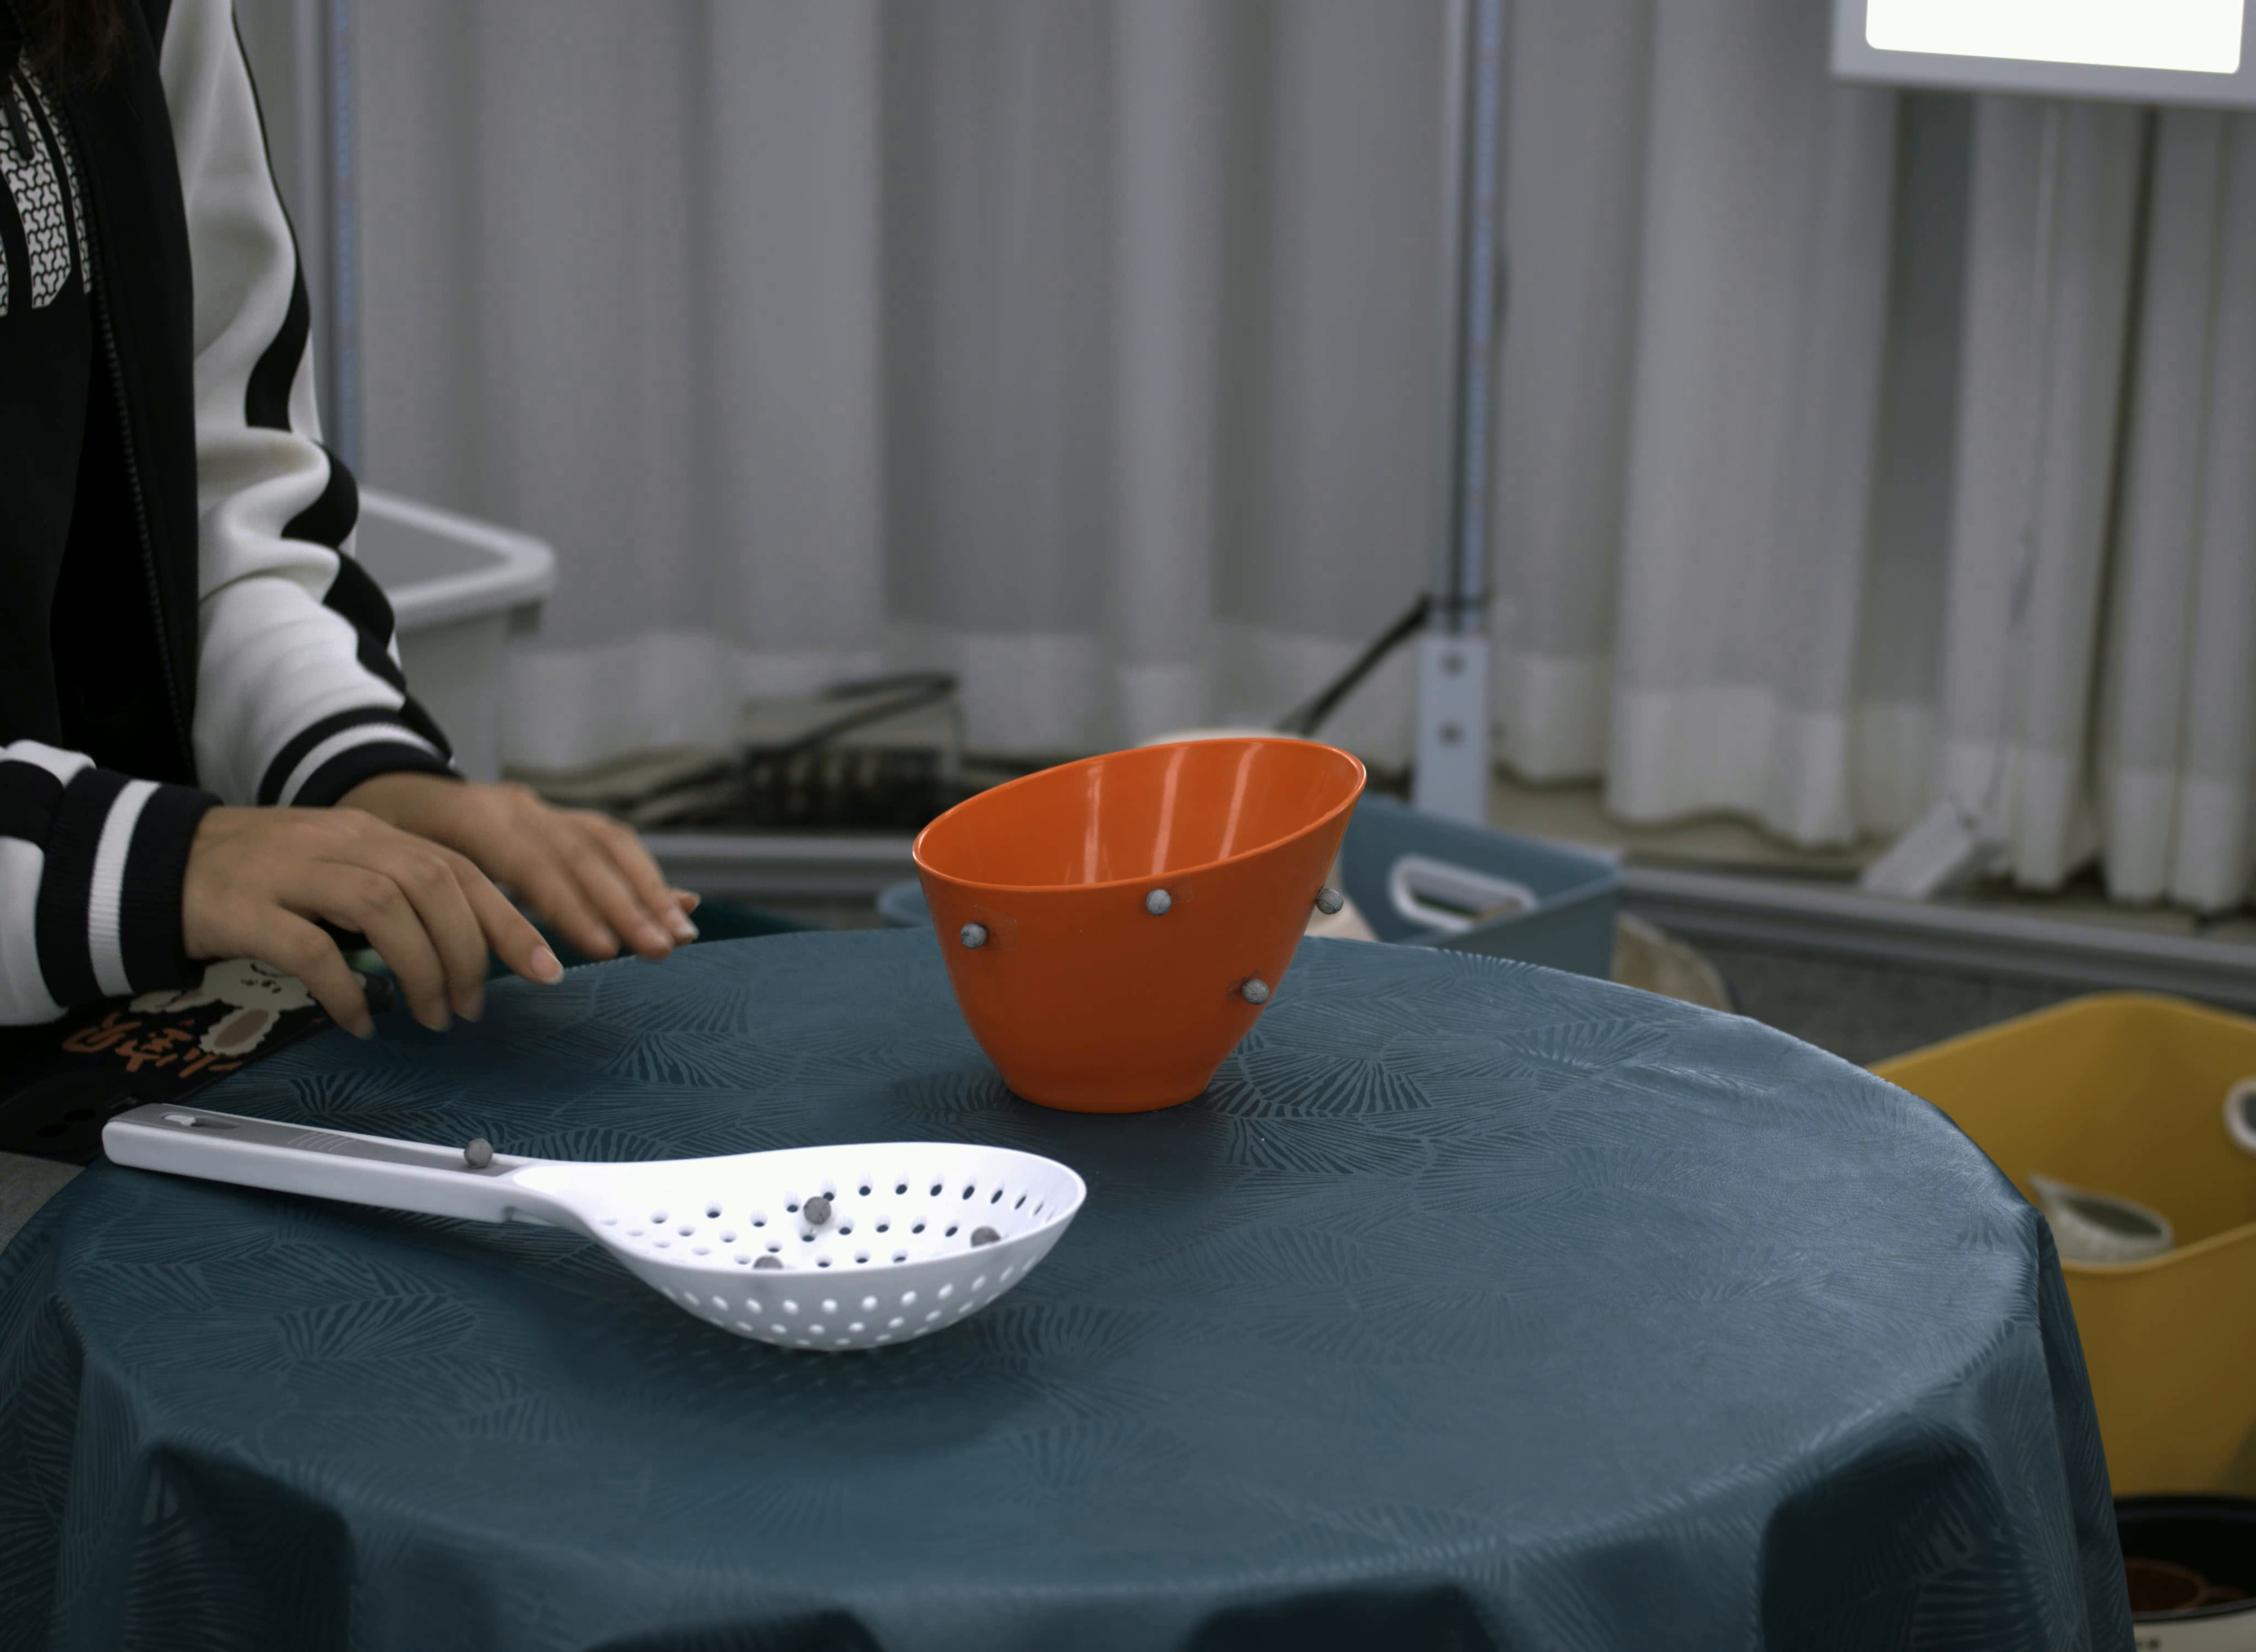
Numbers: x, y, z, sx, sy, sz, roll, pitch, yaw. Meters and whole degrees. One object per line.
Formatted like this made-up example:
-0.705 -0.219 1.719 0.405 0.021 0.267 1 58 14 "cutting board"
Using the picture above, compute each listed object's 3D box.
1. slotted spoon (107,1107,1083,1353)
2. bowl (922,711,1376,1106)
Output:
-0.169 0.108 1.548 0.345 0.046 0.136 10 16 32 "slotted spoon"
0.008 0.030 1.708 0.147 0.106 0.147 -2 22 1 "bowl"
